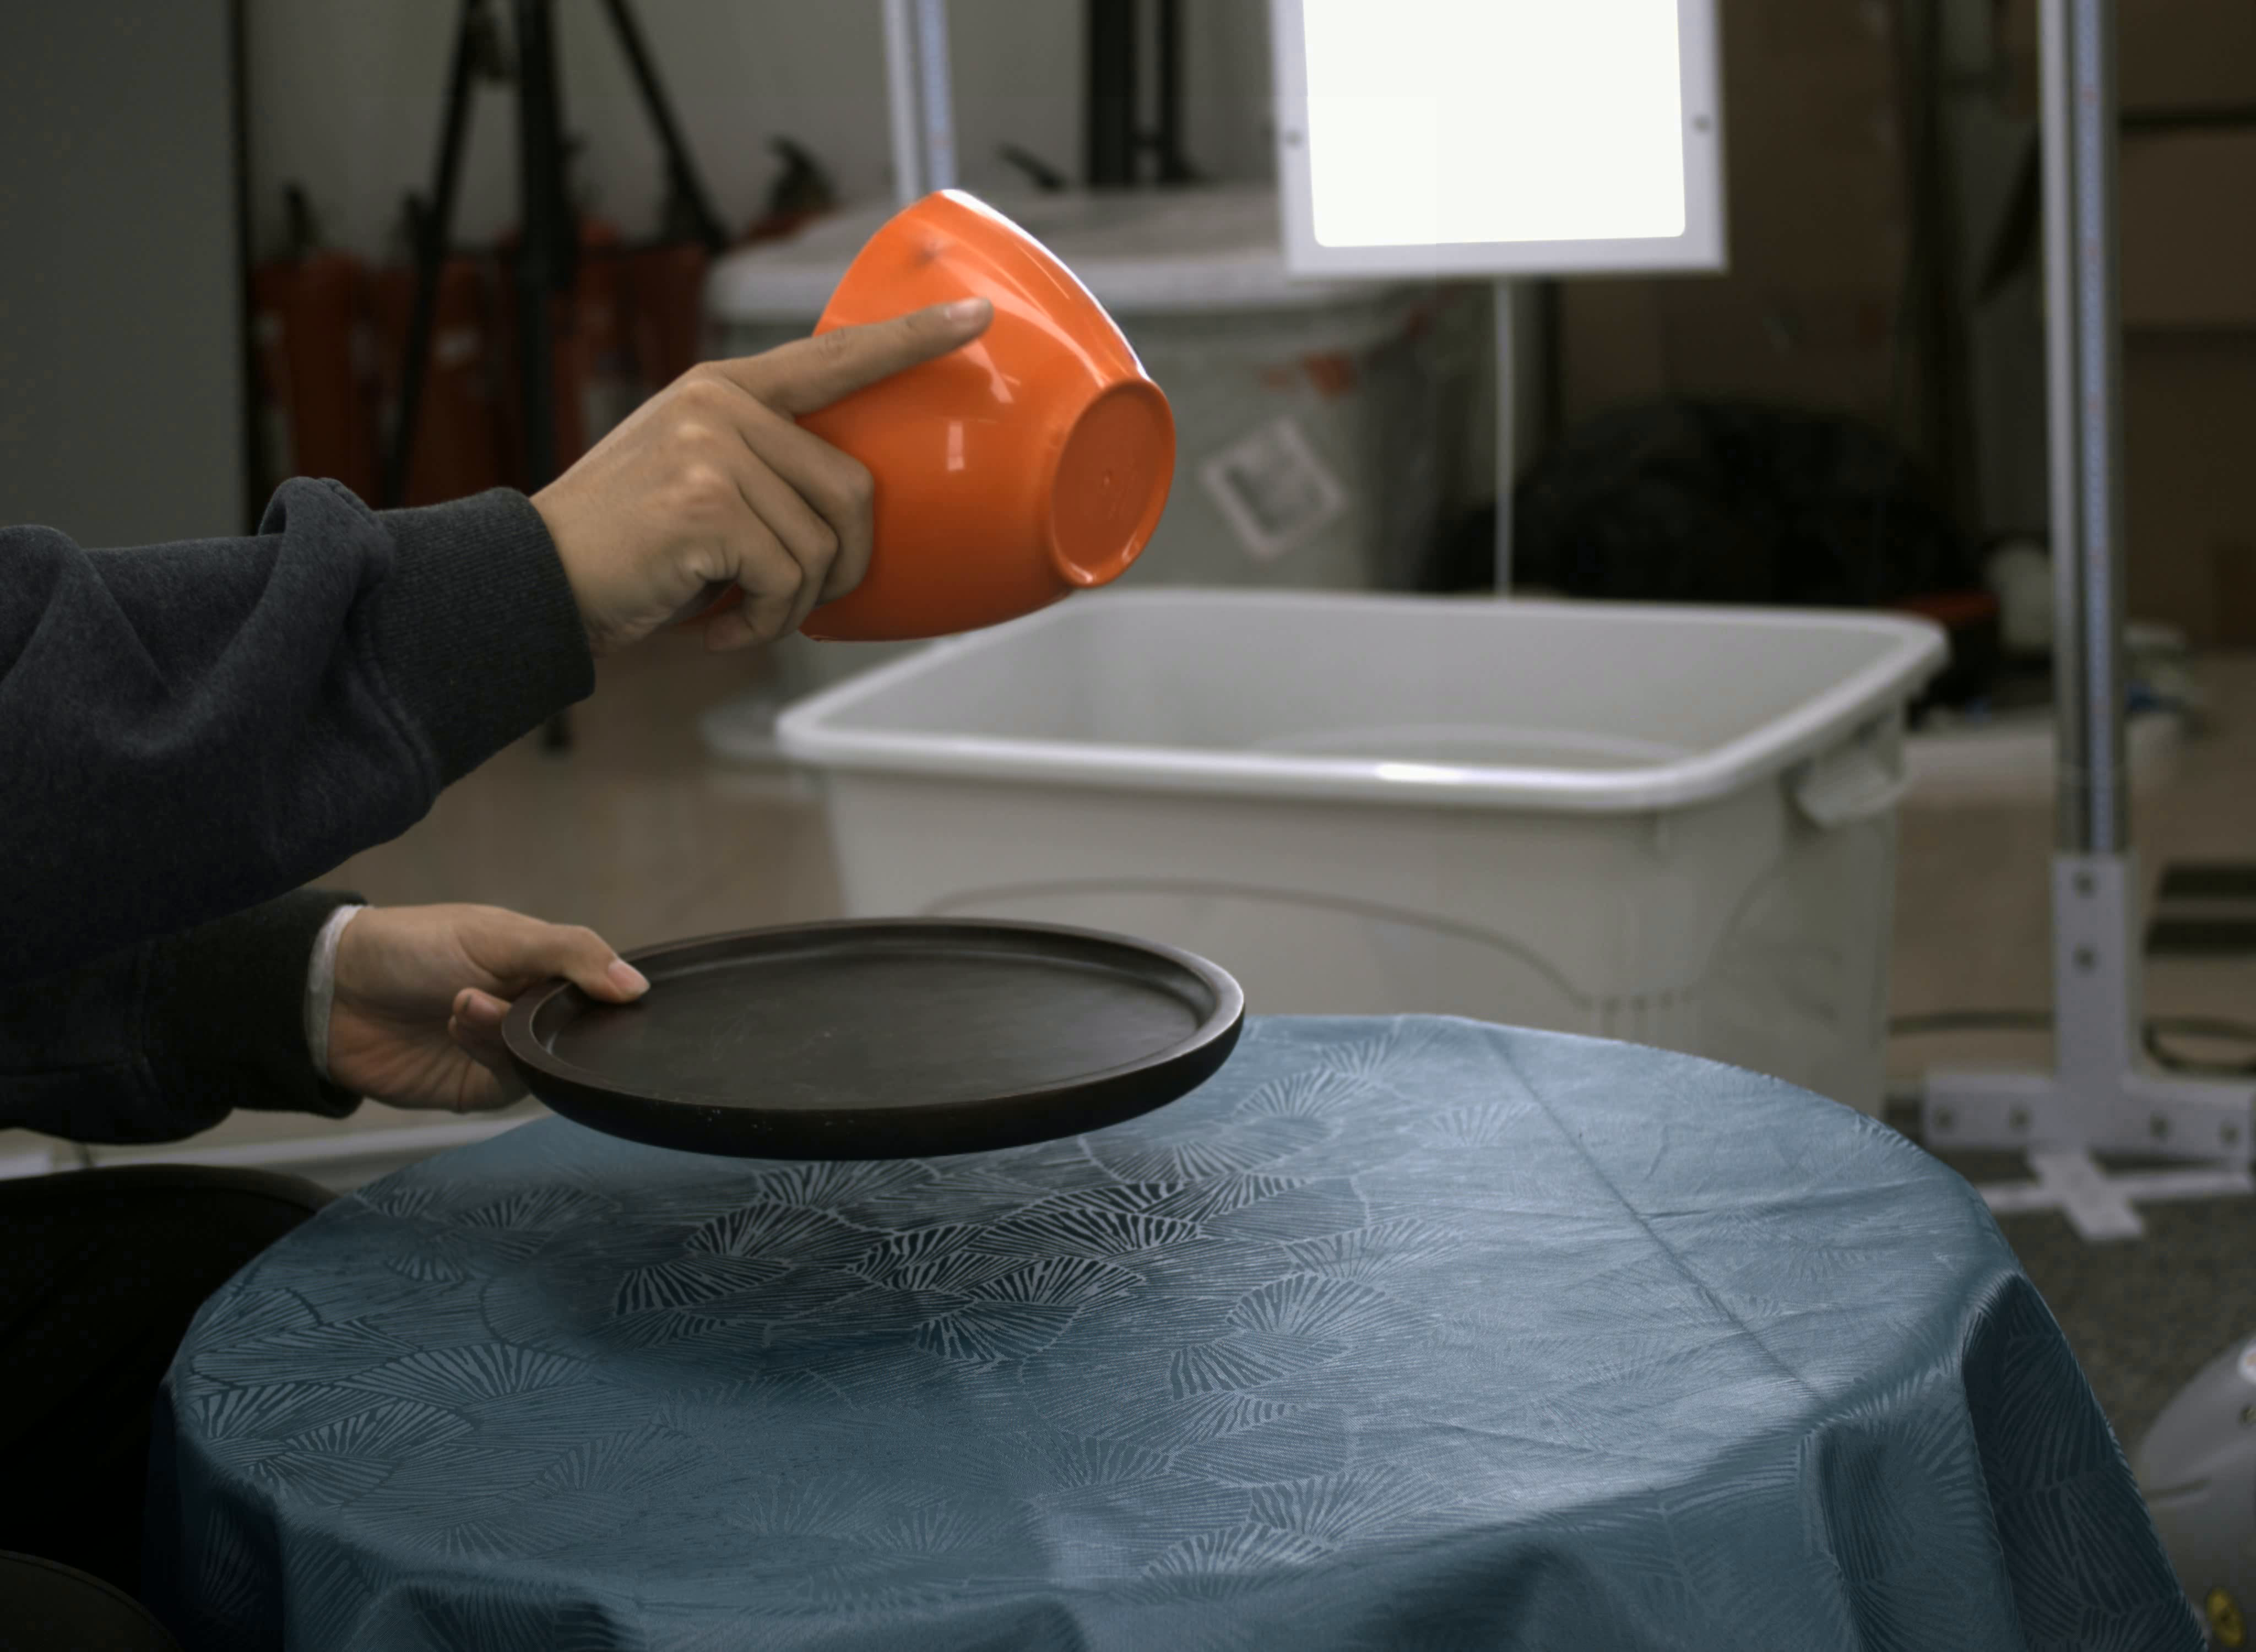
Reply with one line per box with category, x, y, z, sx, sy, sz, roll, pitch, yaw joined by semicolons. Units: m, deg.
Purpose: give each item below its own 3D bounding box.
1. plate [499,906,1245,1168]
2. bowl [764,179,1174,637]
plate;-0.086;0.071;1.864;0.254;0.029;0.254;-3;14;-1
bowl;-0.040;-0.118;1.691;0.106;0.149;0.144;20;25;32
